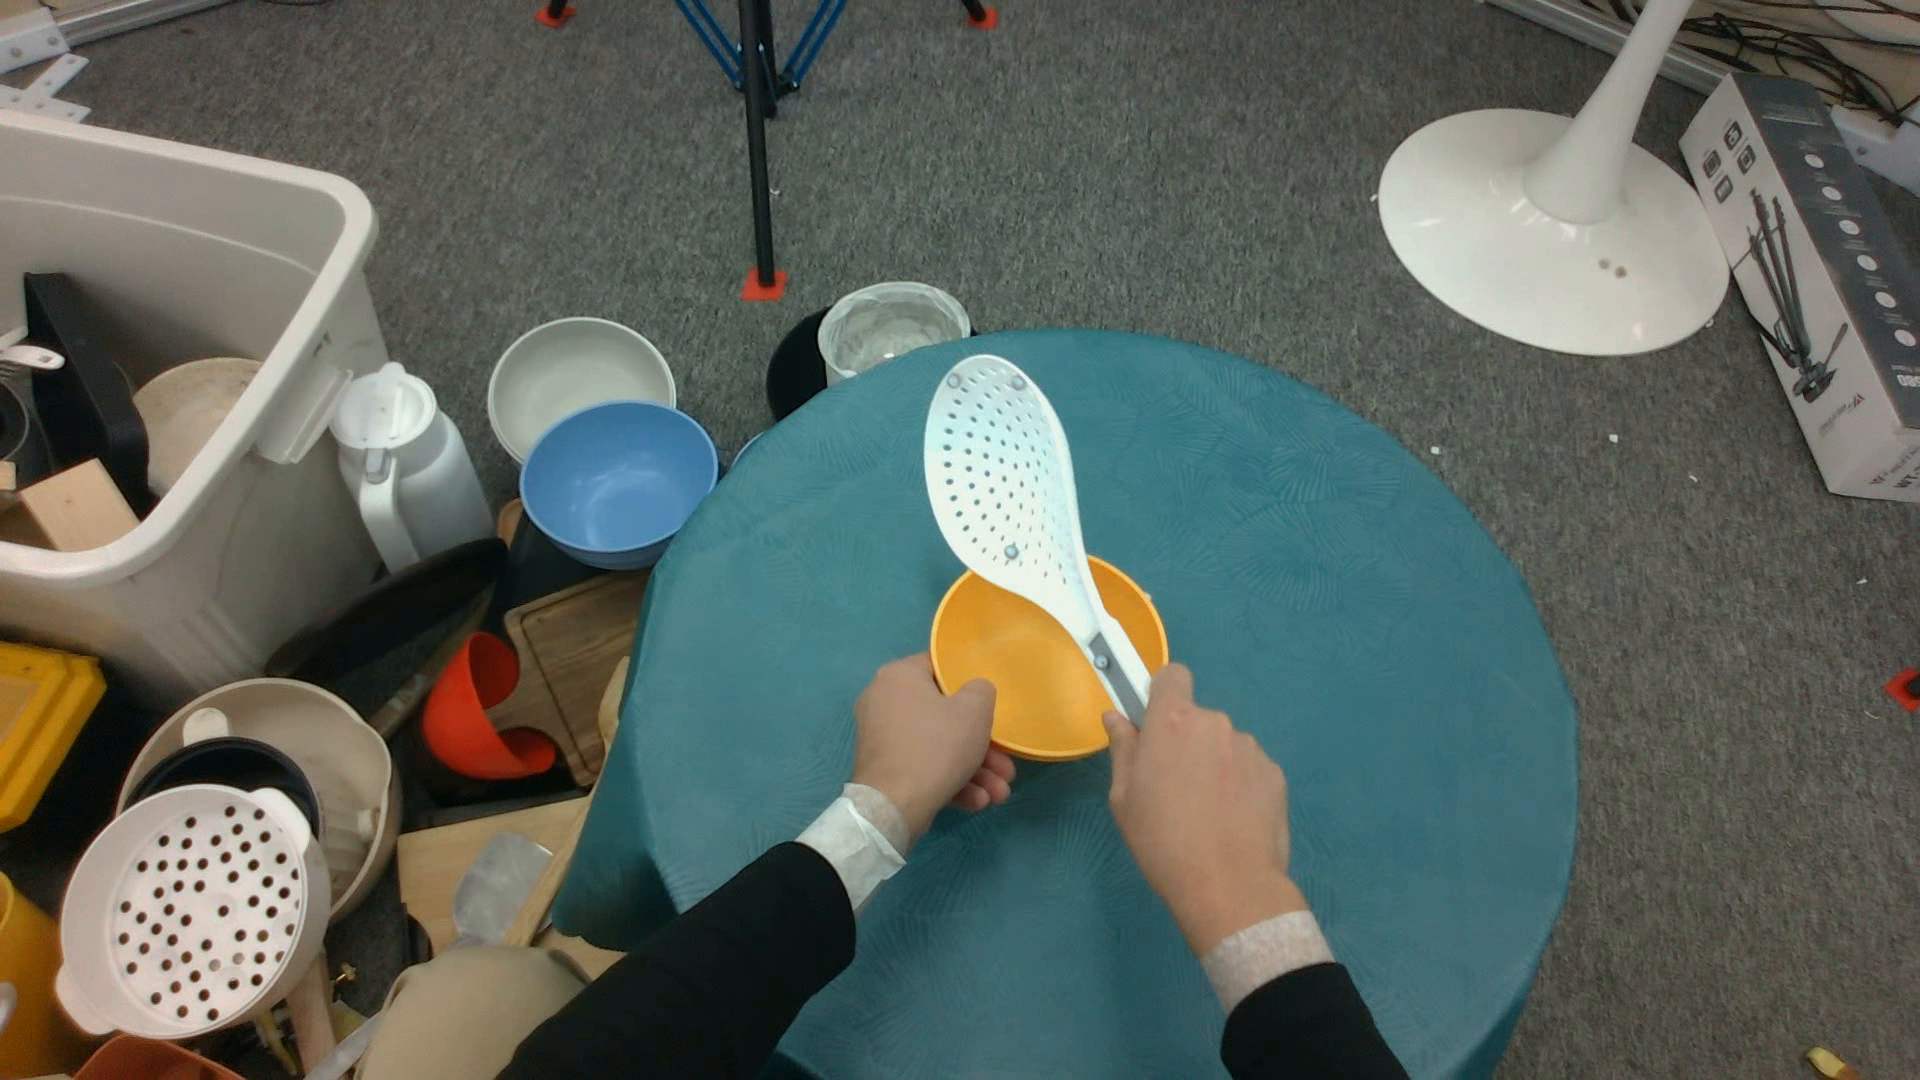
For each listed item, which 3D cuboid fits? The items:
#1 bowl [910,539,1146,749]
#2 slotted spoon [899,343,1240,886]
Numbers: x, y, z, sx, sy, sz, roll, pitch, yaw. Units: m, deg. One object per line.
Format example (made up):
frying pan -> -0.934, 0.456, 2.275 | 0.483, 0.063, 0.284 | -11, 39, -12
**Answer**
bowl -> 0.037, 0.071, 0.843 | 0.145, 0.060, 0.146 | 6, 55, -8
slotted spoon -> 0.058, 0.035, 0.781 | 0.046, 0.135, 0.350 | -4, 55, -34
